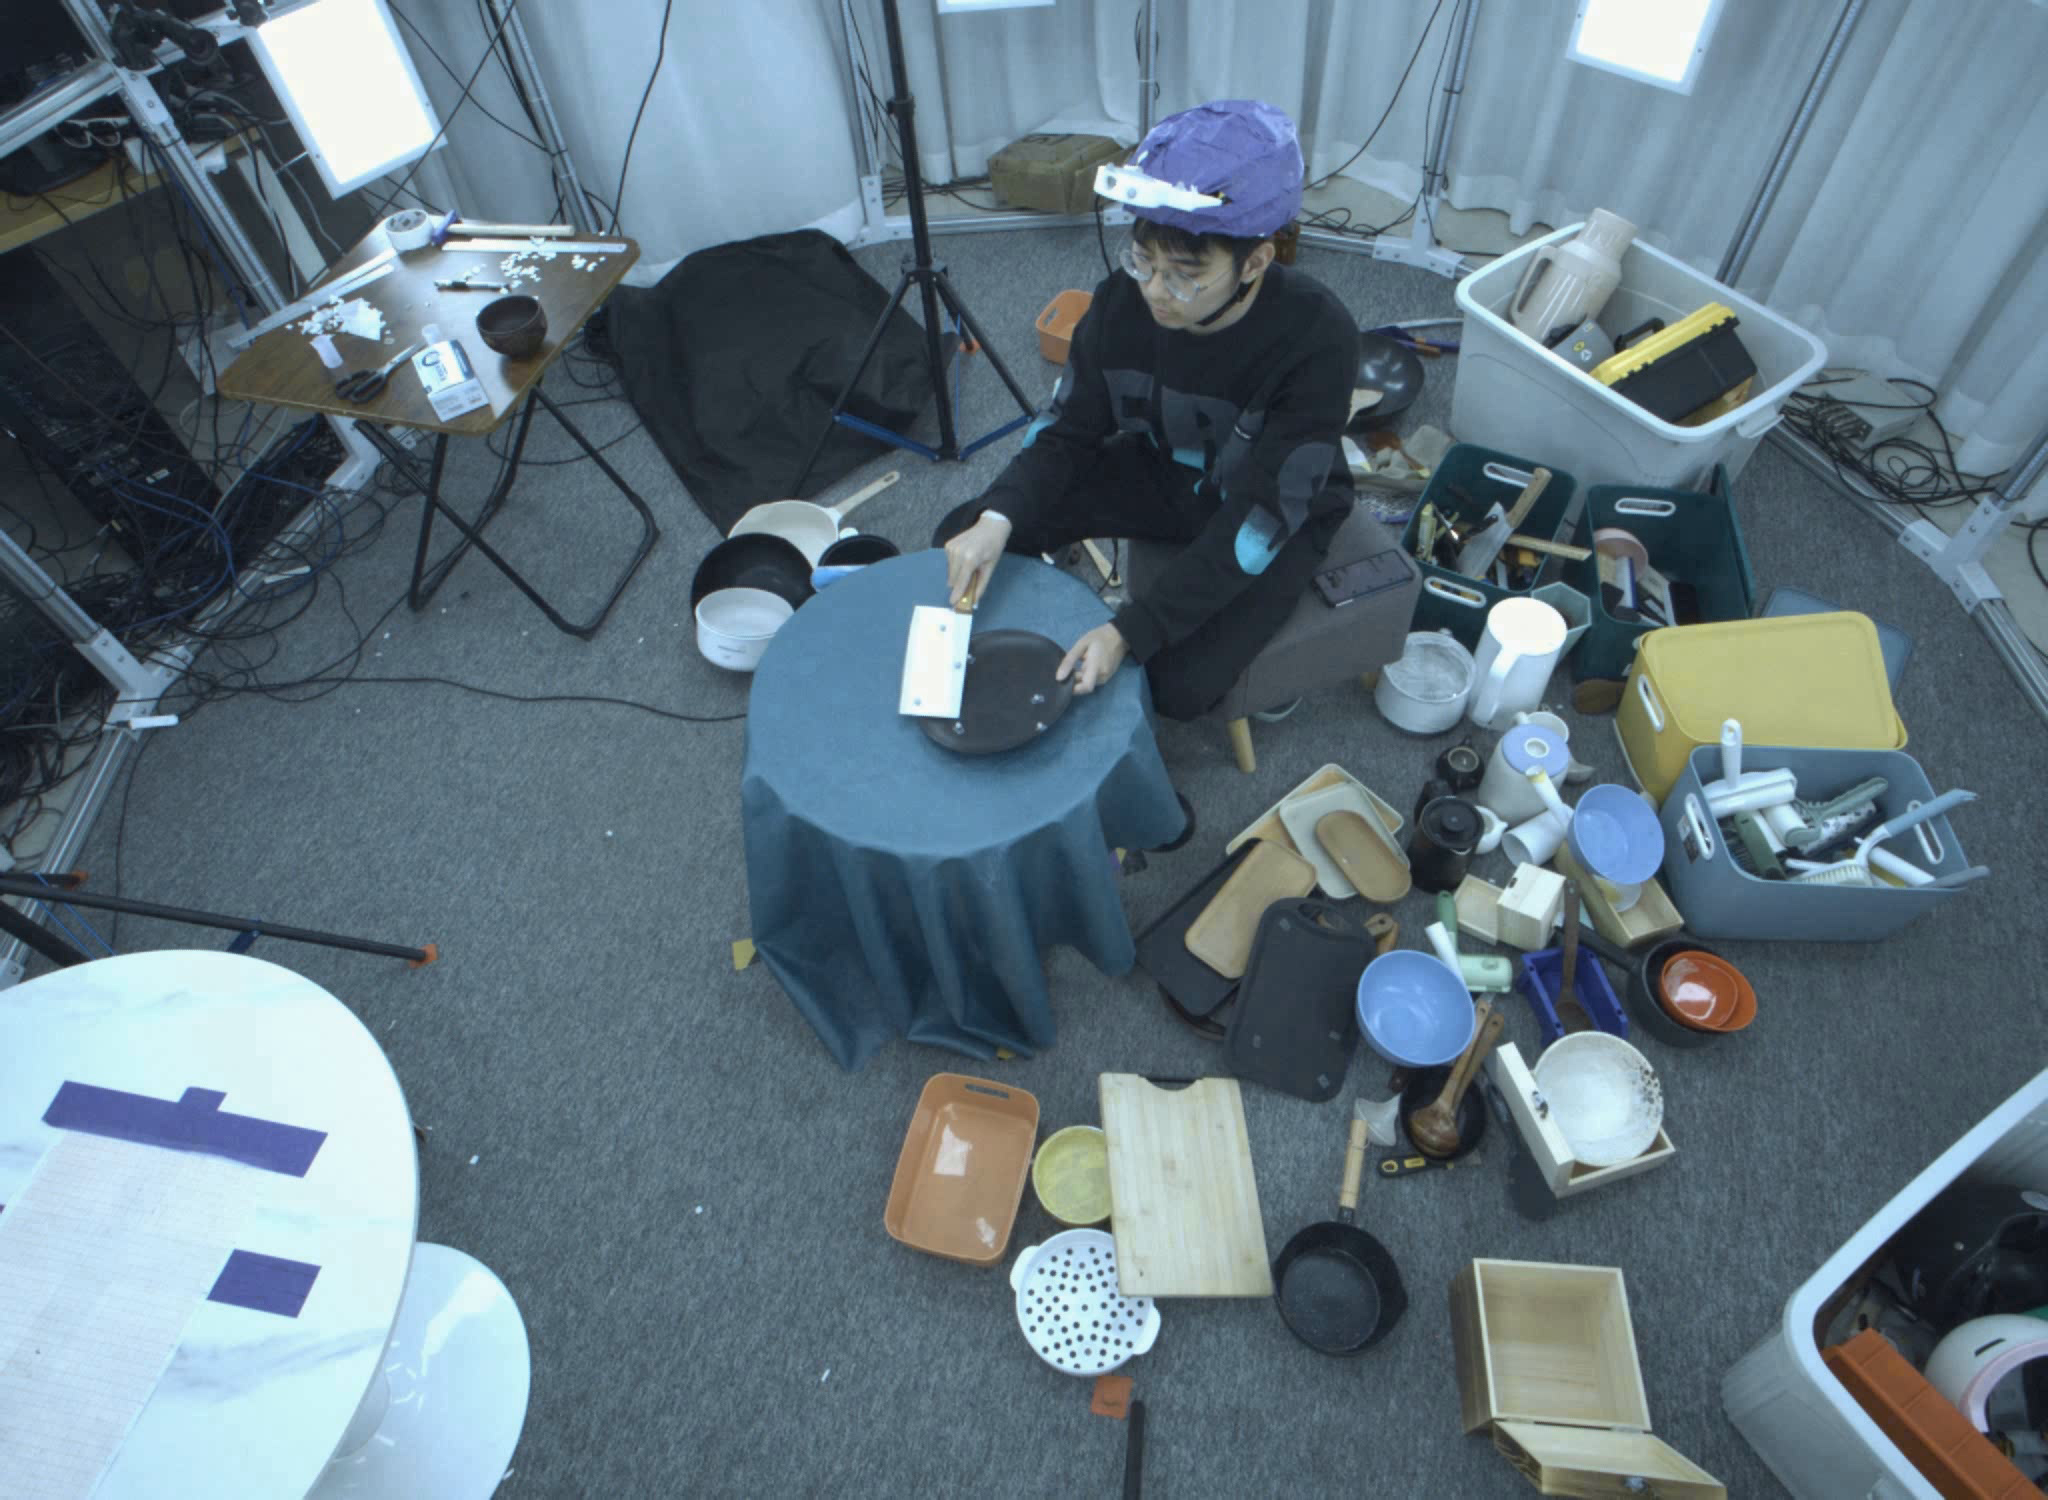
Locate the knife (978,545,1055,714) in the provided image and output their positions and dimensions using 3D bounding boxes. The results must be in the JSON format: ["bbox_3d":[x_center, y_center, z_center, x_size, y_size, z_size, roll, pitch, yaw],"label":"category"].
[{"bbox_3d":[-0.013,-0.189,1.867,0.092,0.021,0.304,8,65,4],"label":"knife"}]

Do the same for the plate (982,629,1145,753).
[{"bbox_3d":[0.058,-0.086,1.816,0.243,0.024,0.242,-5,51,8],"label":"plate"}]
